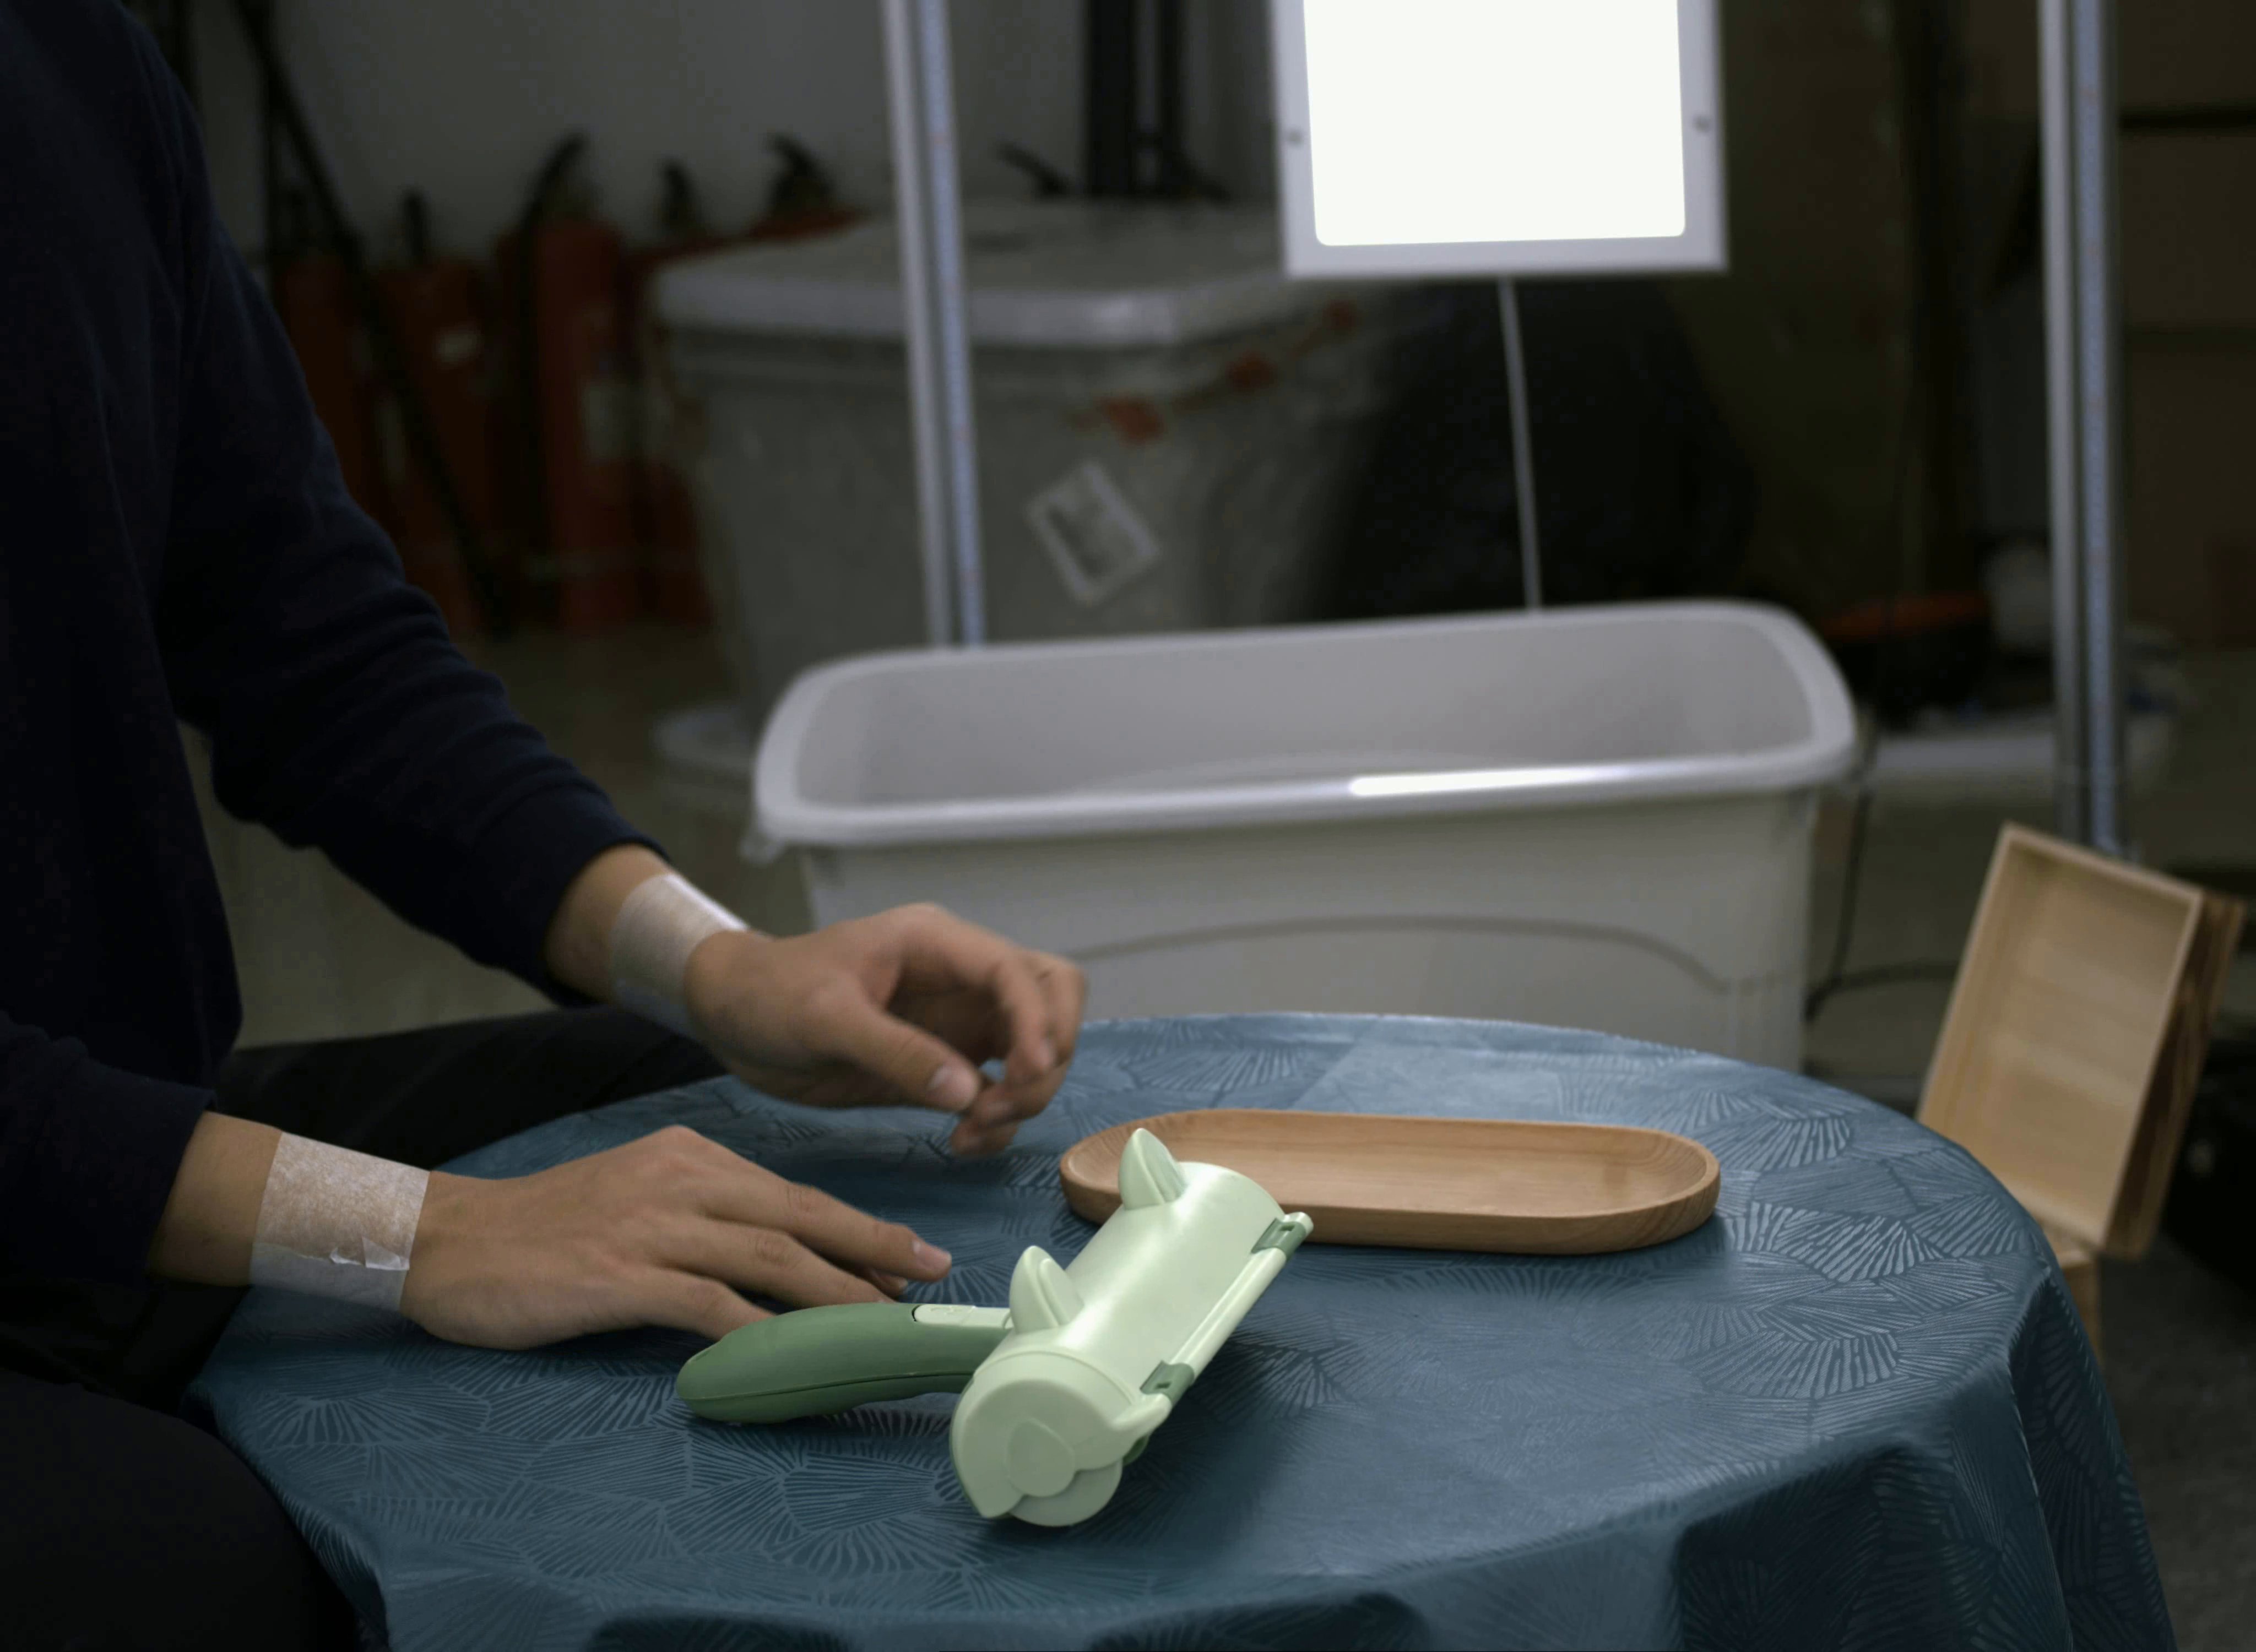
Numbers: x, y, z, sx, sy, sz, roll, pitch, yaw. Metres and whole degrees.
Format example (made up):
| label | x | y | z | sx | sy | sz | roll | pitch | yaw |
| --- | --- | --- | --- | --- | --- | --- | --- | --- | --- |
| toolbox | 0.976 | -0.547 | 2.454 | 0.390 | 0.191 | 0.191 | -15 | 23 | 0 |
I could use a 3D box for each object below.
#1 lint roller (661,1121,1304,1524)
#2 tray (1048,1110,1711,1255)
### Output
| label | x | y | z | sx | sy | sz | roll | pitch | yaw |
| --- | --- | --- | --- | --- | --- | --- | --- | --- | --- |
| lint roller | -0.055 | 0.141 | 1.675 | 0.185 | 0.082 | 0.195 | 5 | 15 | 16 |
| tray | 0.084 | 0.120 | 1.858 | 0.234 | 0.020 | 0.100 | 0 | 14 | 23 |
